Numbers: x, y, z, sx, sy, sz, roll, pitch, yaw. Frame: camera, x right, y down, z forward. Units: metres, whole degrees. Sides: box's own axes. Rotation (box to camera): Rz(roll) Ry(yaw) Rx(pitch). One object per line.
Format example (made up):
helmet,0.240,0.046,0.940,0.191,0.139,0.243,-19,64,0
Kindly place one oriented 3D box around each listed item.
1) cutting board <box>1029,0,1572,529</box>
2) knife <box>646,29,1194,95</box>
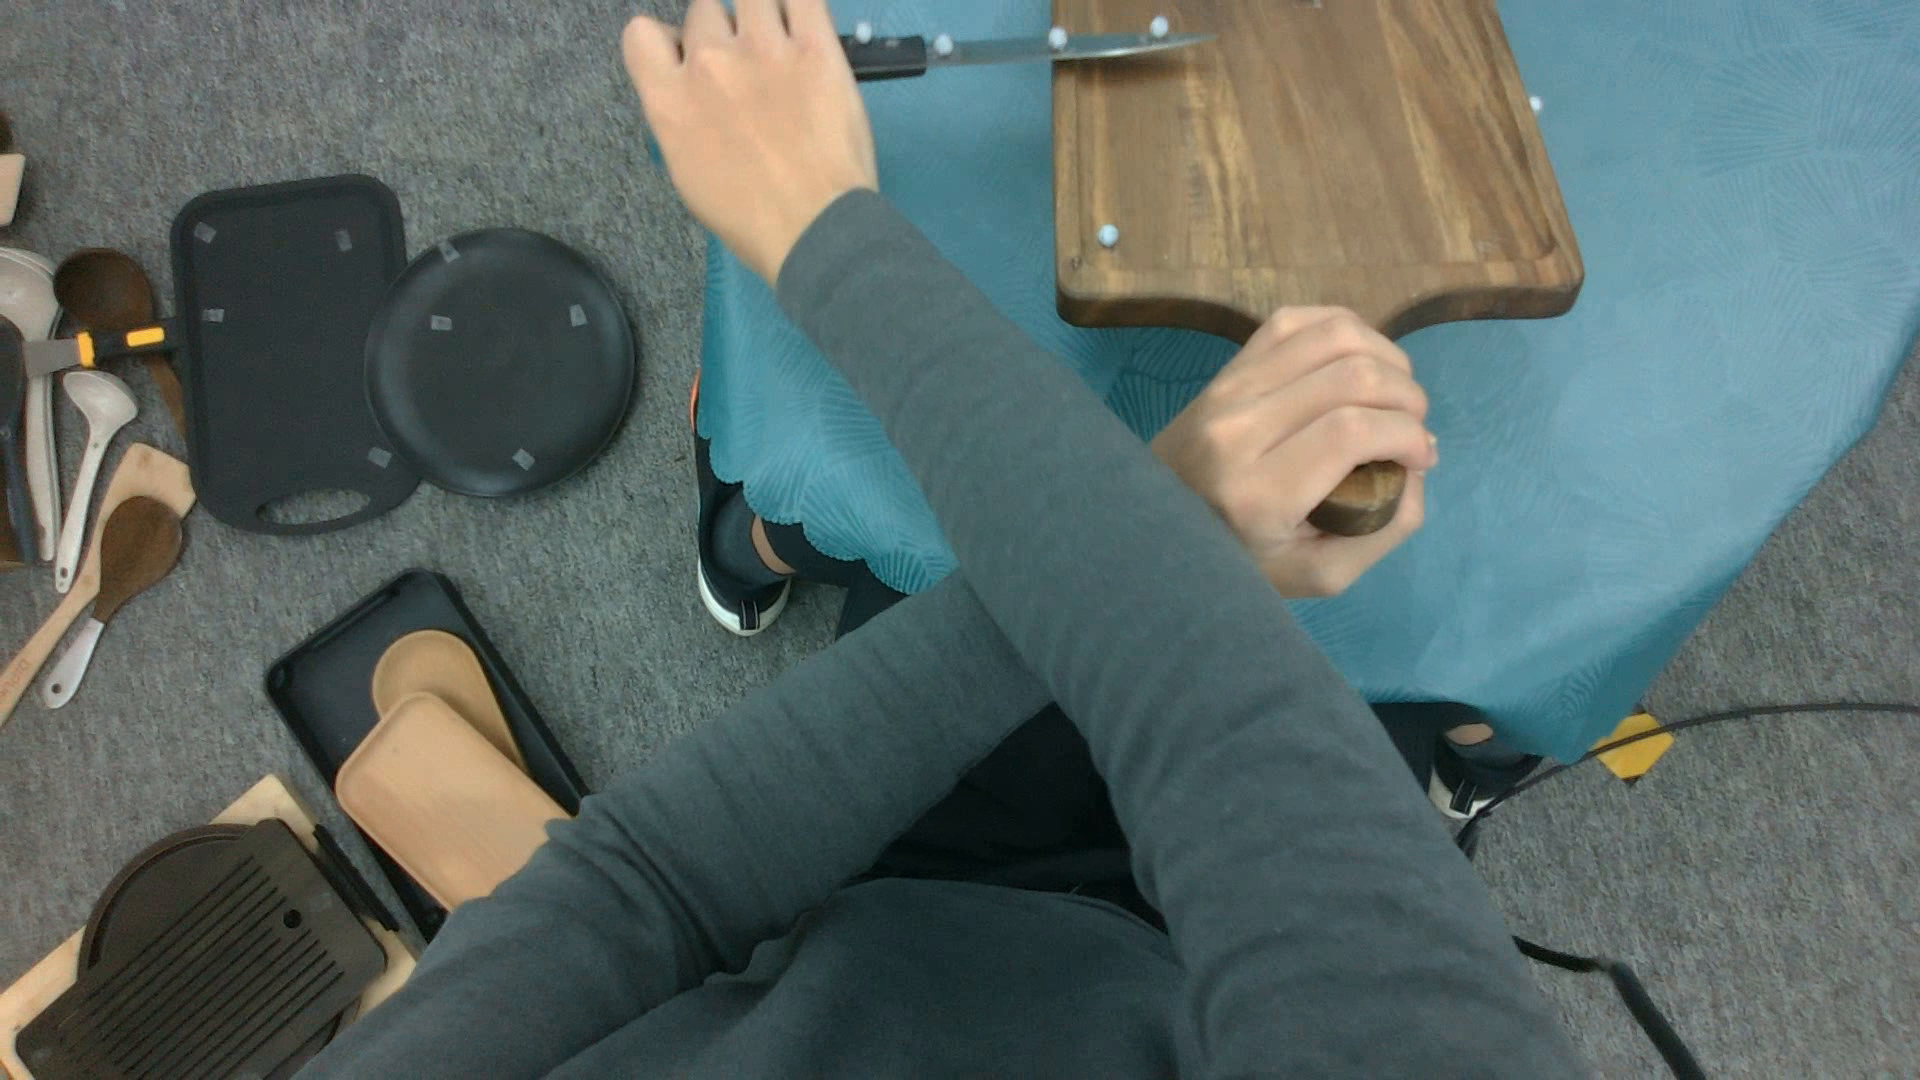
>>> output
cutting board,0.131,-0.151,0.565,0.201,0.023,0.353,-1,54,2
knife,-0.017,-0.208,0.594,0.238,0.016,0.024,-4,50,-1
